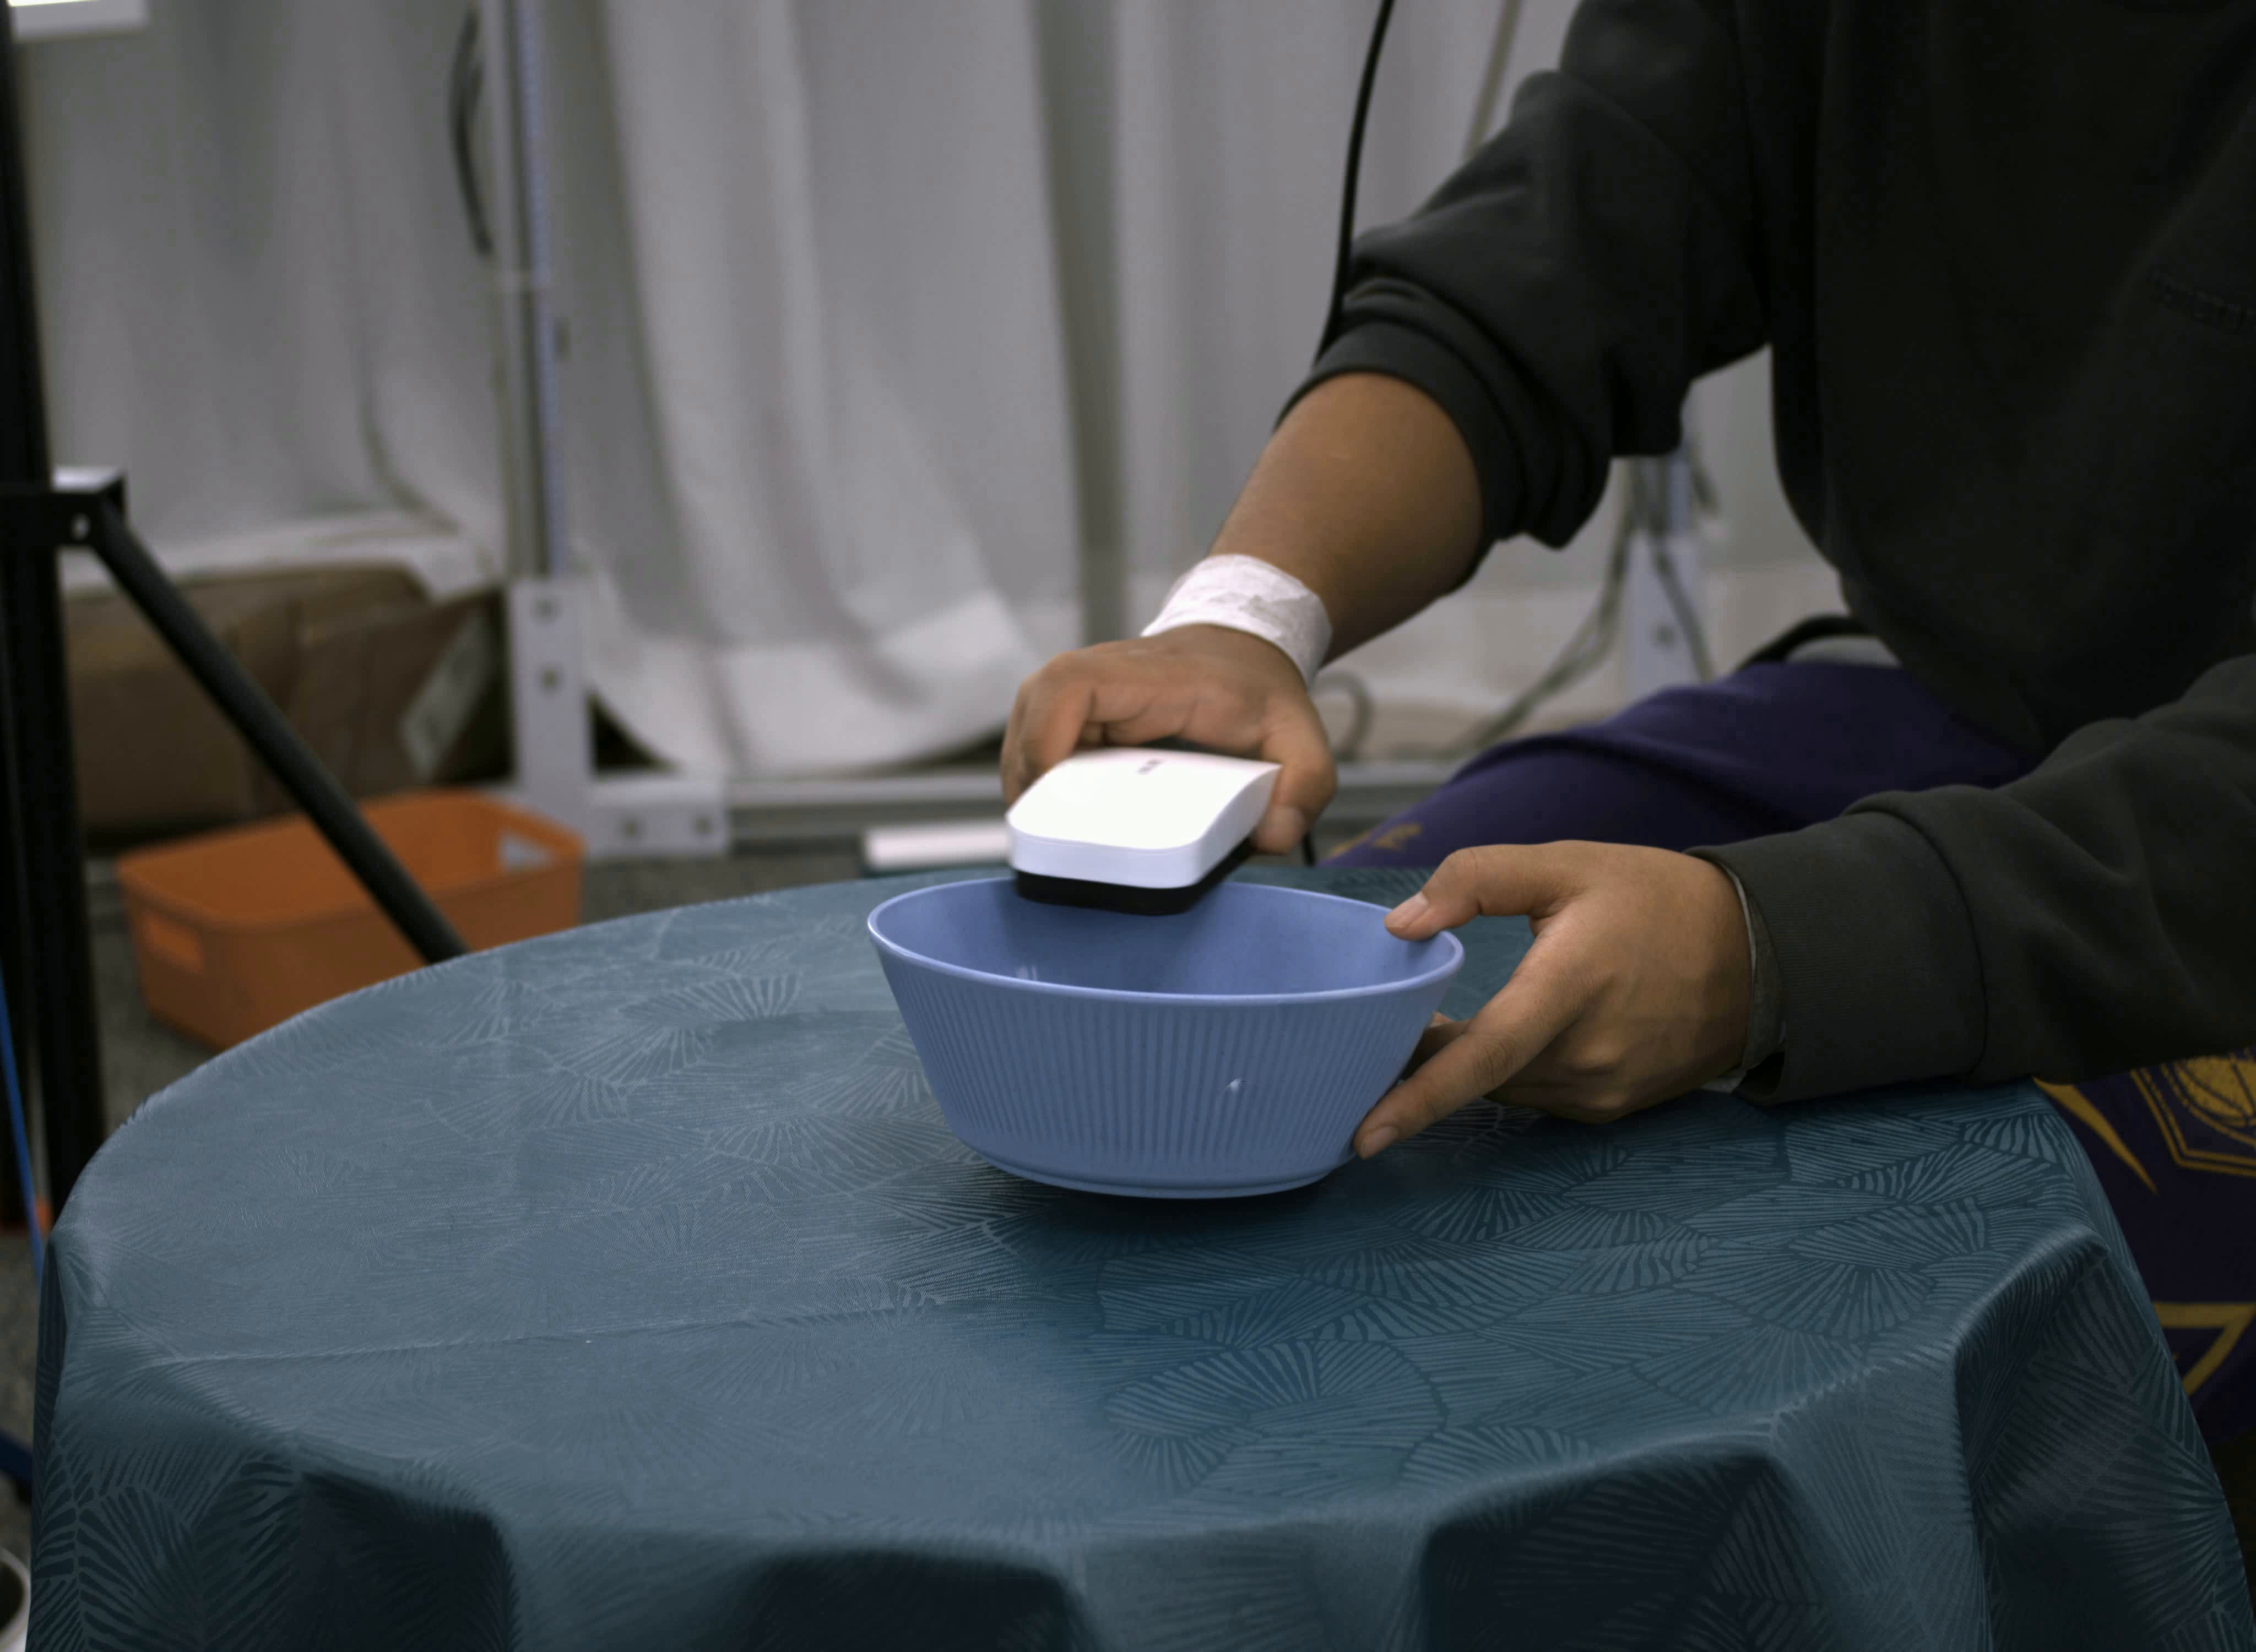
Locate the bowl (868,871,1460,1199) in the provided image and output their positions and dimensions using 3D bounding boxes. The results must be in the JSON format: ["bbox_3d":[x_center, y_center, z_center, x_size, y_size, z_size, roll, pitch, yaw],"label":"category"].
[{"bbox_3d":[0.009,0.063,1.566,0.175,0.070,0.177,3,11,-2],"label":"bowl"}]

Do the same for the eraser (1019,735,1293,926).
[{"bbox_3d":[0.011,-0.003,1.652,0.064,0.034,0.130,8,16,15],"label":"eraser"}]
